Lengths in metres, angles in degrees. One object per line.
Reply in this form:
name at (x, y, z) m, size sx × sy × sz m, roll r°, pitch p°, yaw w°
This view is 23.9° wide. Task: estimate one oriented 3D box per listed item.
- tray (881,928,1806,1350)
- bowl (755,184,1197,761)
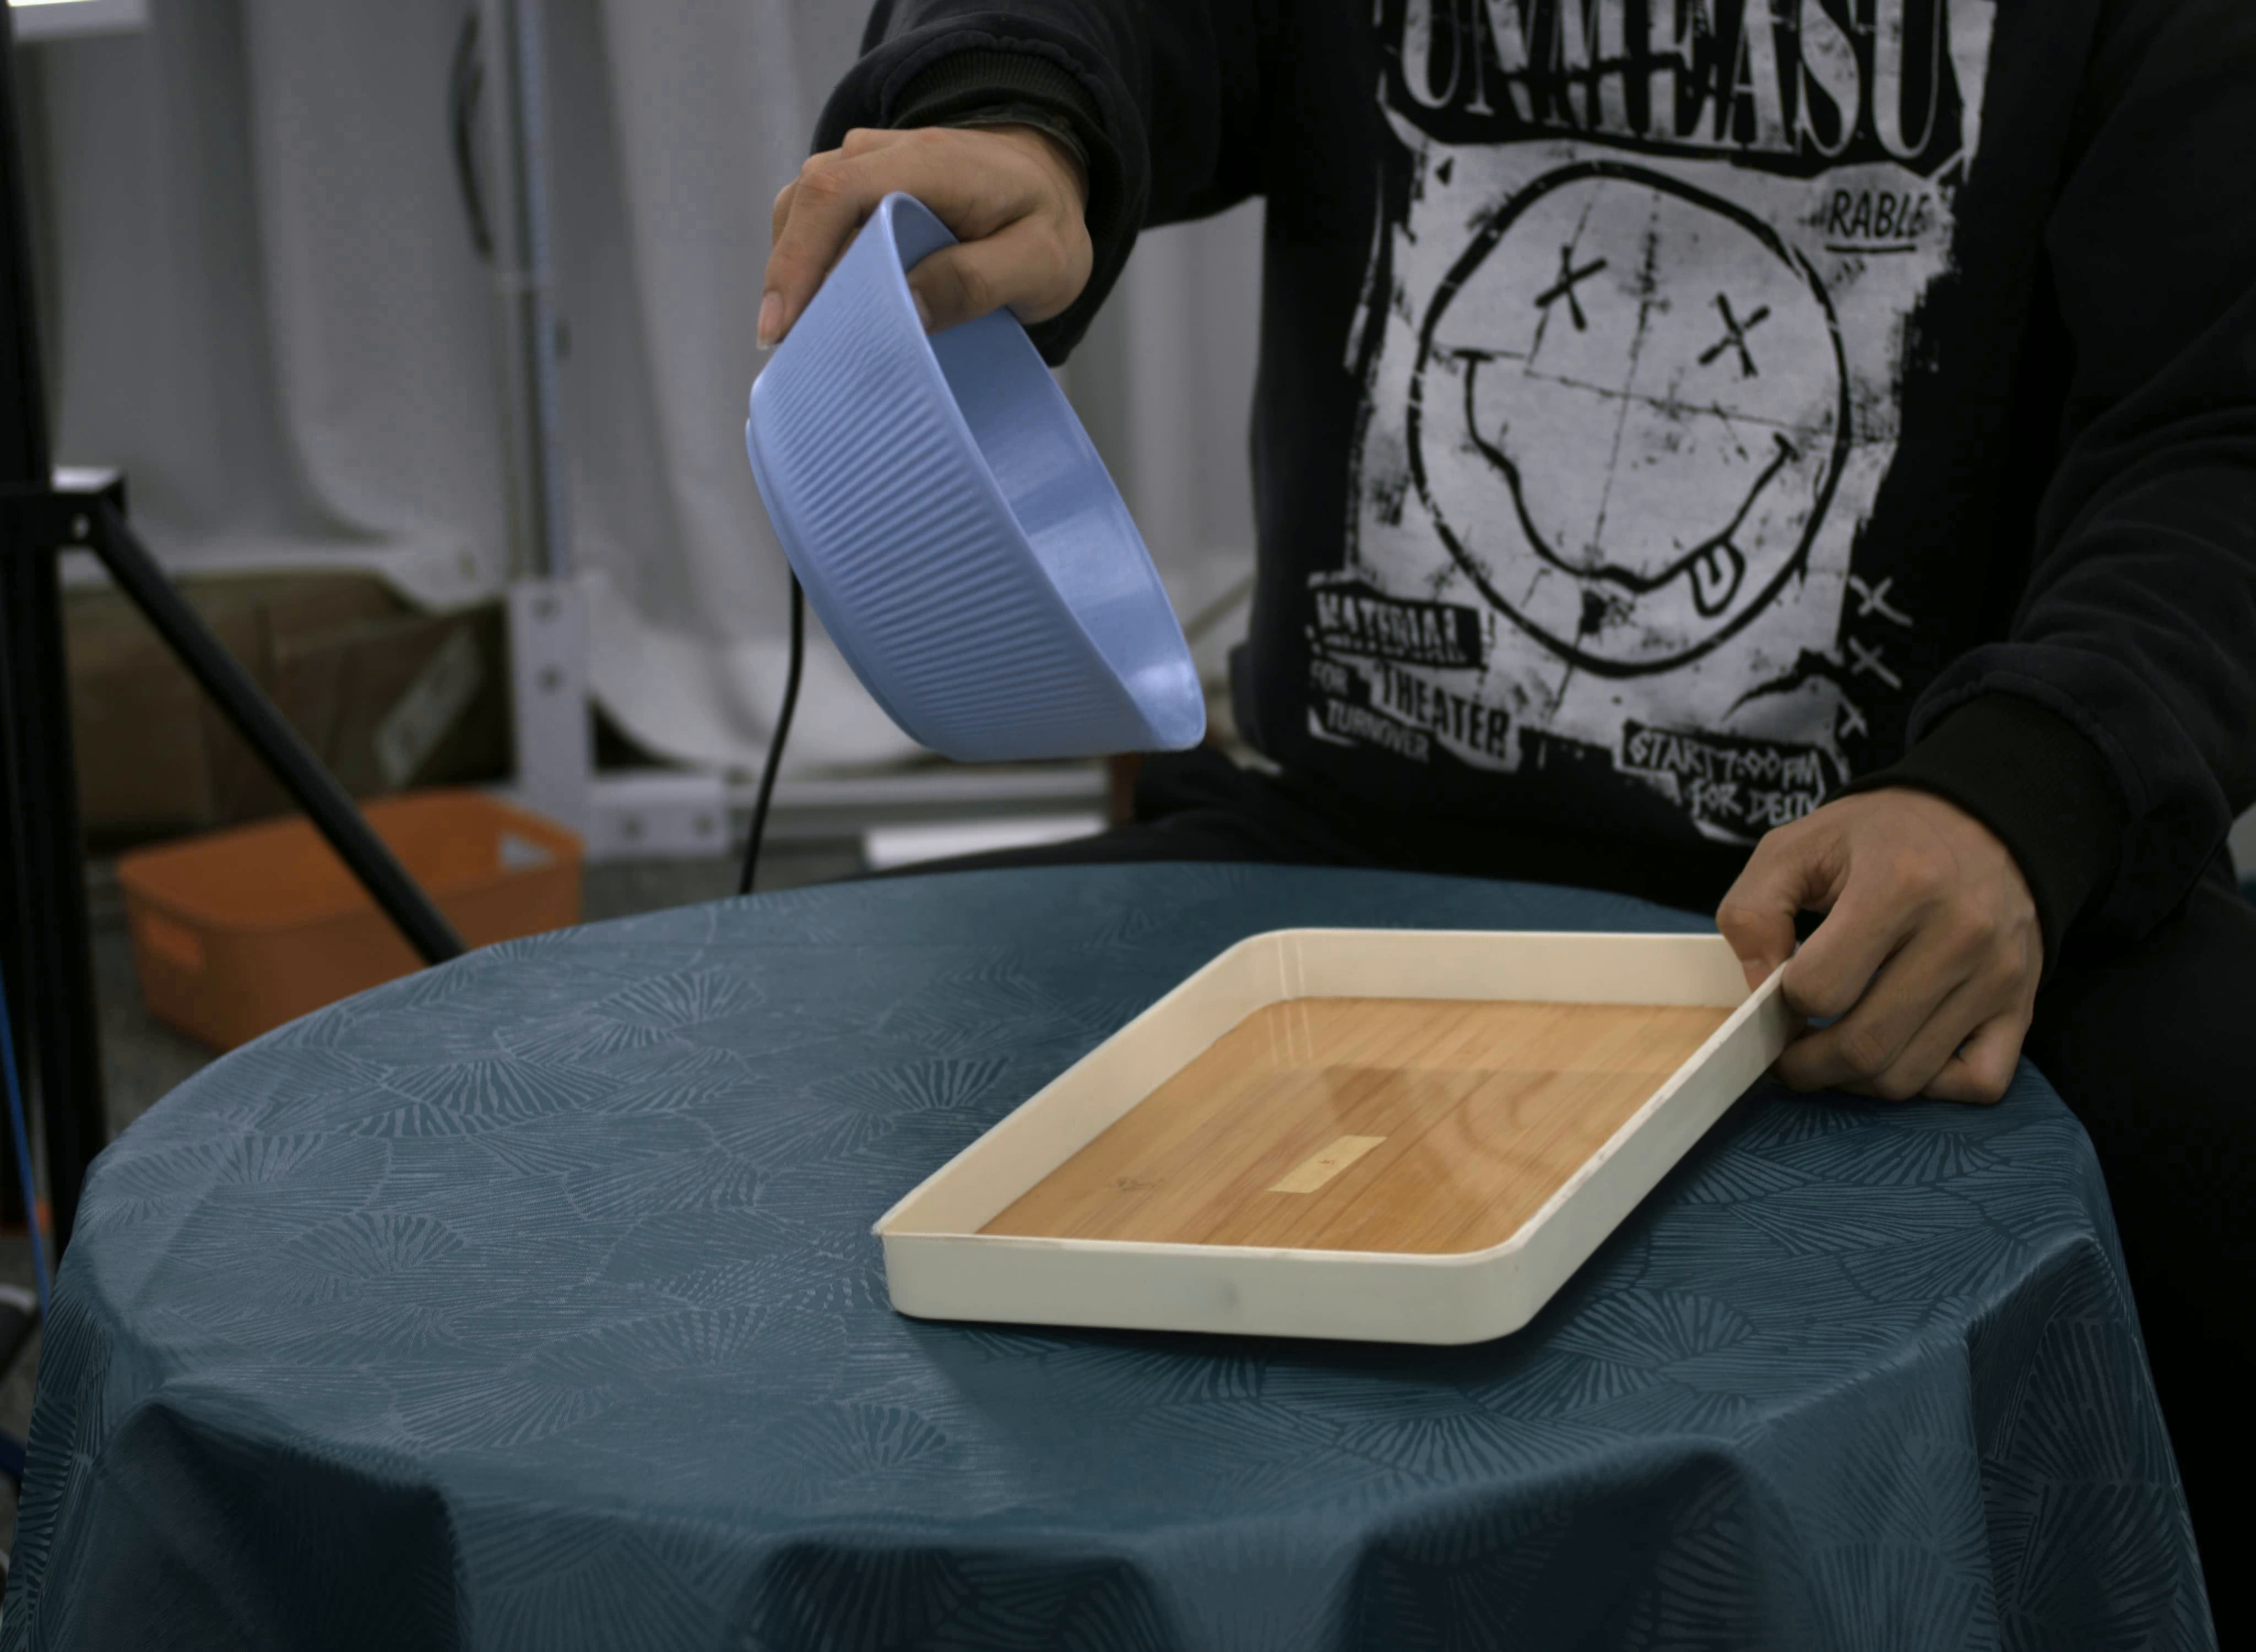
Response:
tray at (0.071, 0.086, 1.552) m, size 0.194 × 0.027 × 0.296 m, roll 0°, pitch 16°, yaw 25°
bowl at (-0.049, -0.085, 1.489) m, size 0.070 × 0.175 × 0.176 m, roll -27°, pitch 12°, yaw 10°
